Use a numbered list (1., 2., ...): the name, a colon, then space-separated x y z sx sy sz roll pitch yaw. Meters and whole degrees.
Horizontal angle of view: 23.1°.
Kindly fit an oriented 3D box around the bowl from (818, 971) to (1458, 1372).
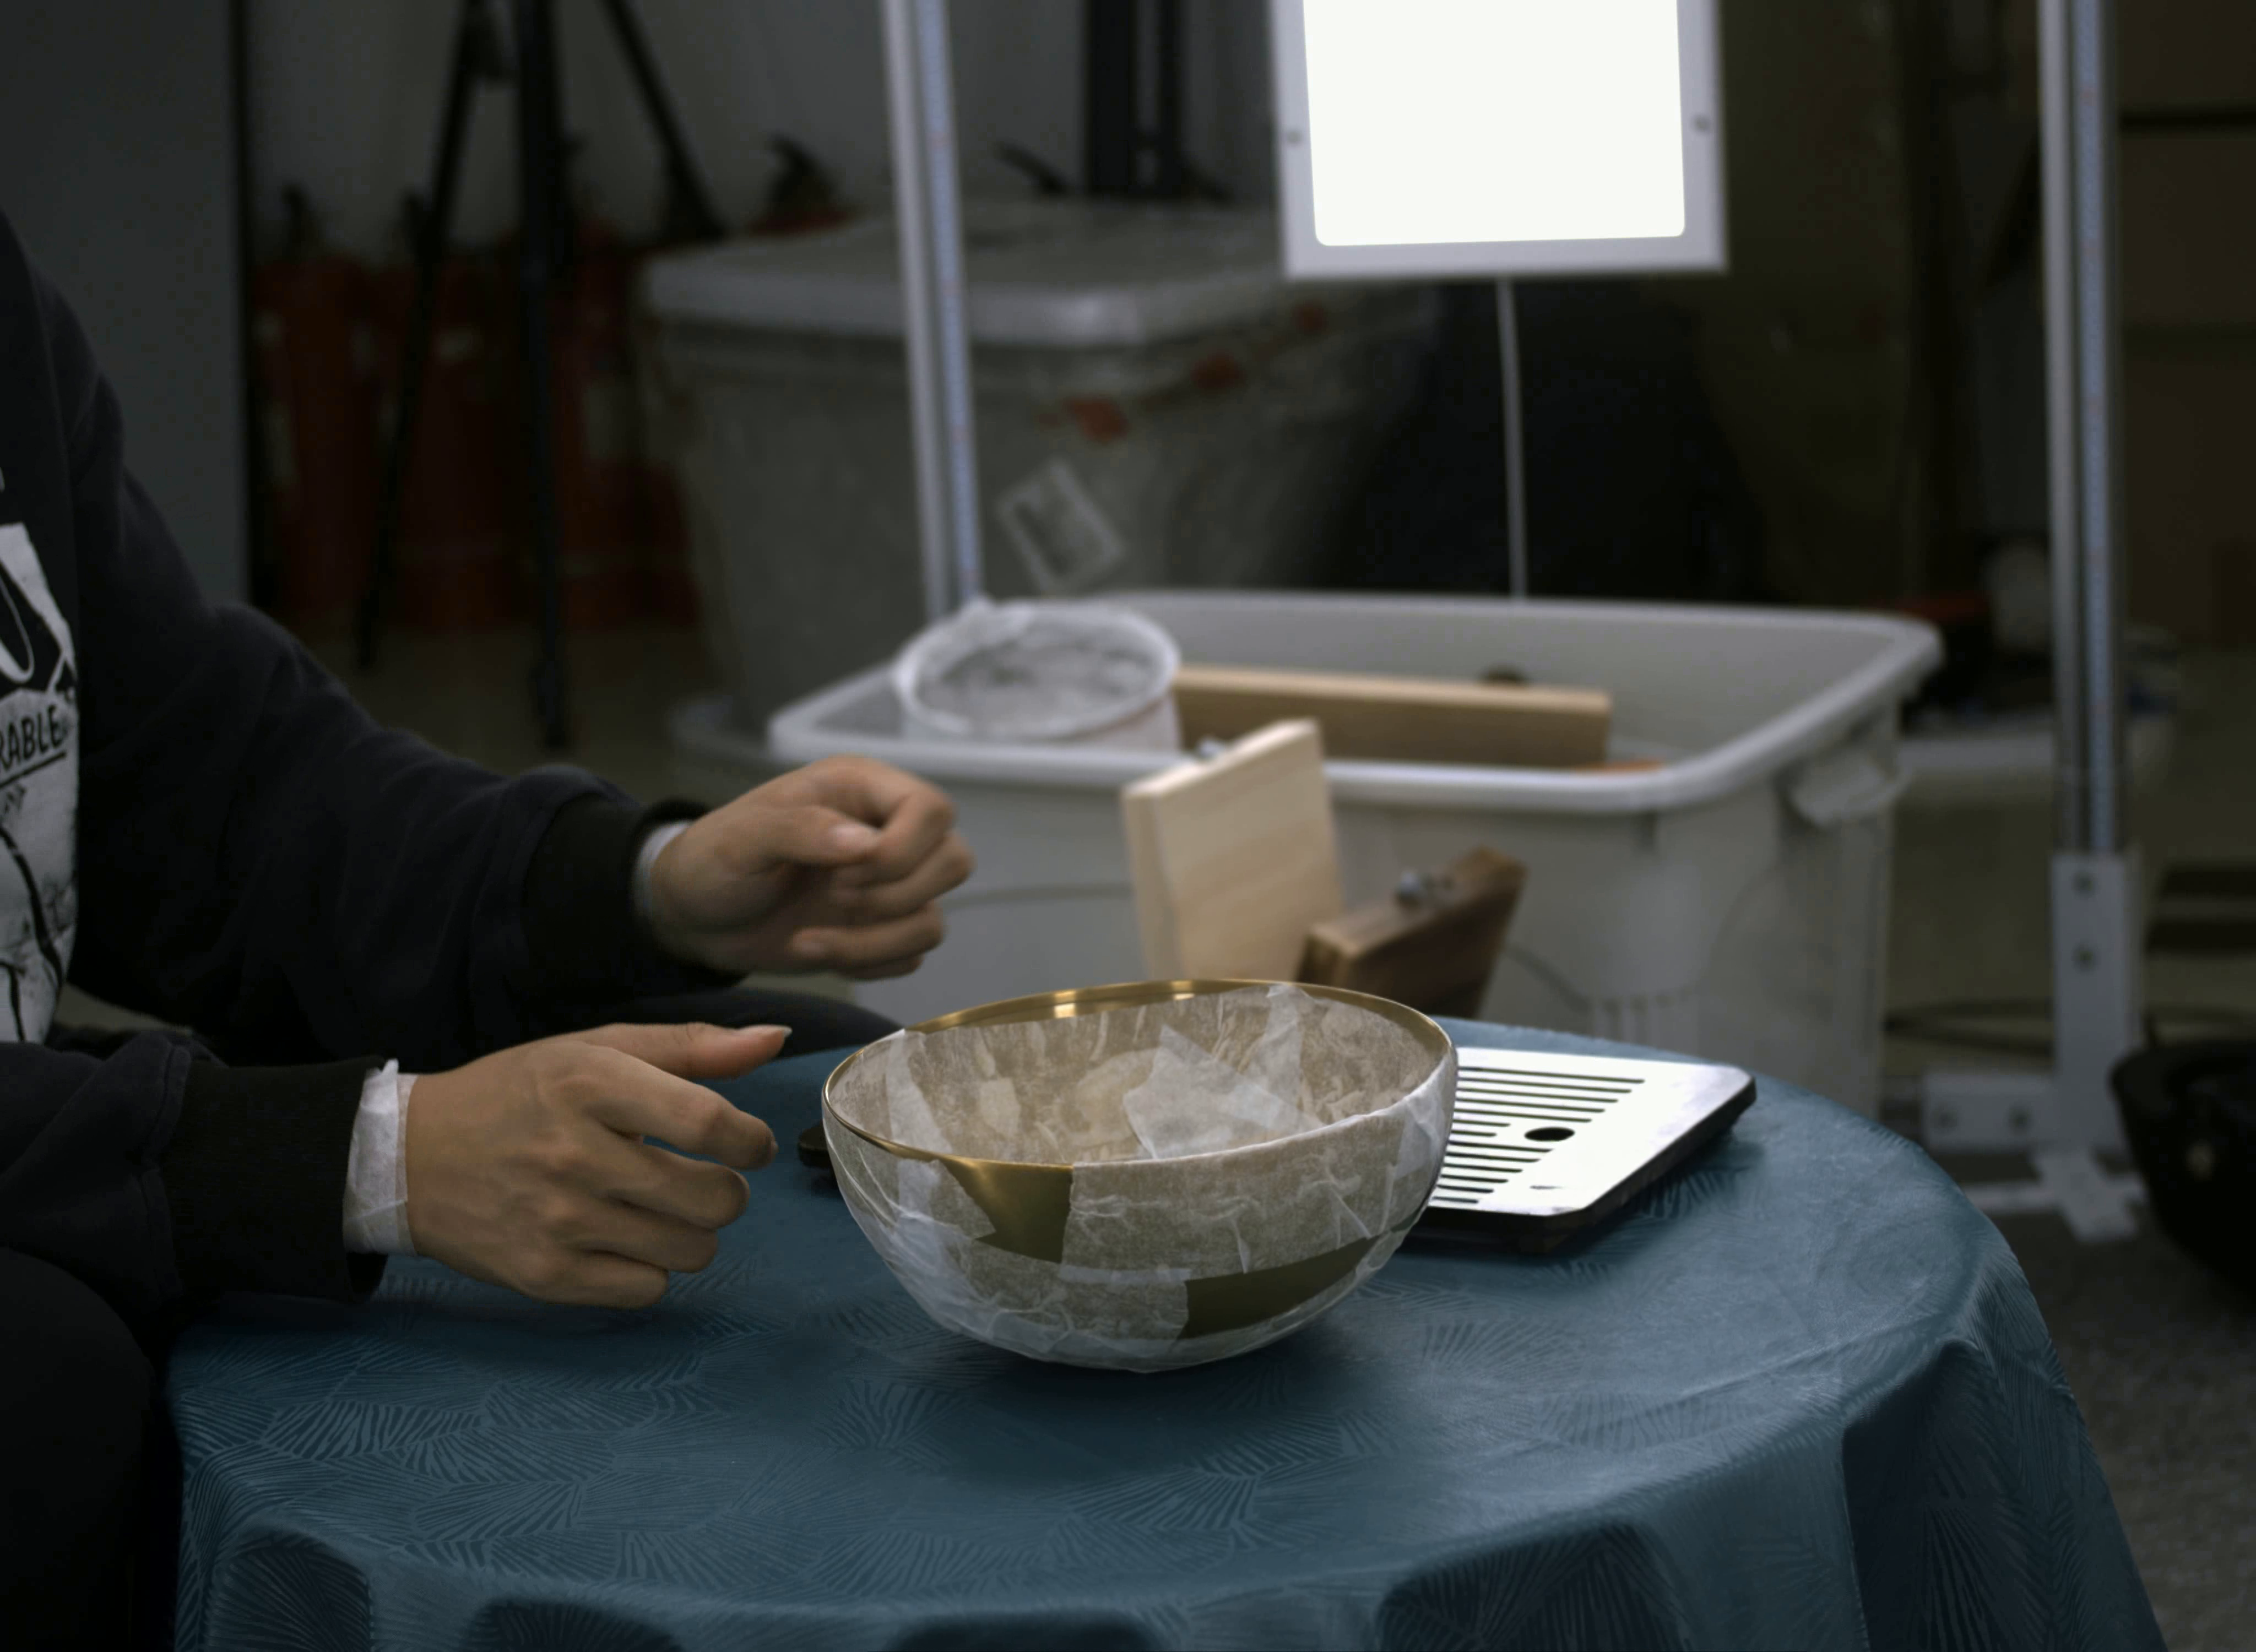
1. bowl: 0.005 0.116 1.743 0.214 0.095 0.214 -6 15 0

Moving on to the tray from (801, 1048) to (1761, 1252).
1. tray: 0.053 0.106 1.926 0.311 0.019 0.166 3 16 30
